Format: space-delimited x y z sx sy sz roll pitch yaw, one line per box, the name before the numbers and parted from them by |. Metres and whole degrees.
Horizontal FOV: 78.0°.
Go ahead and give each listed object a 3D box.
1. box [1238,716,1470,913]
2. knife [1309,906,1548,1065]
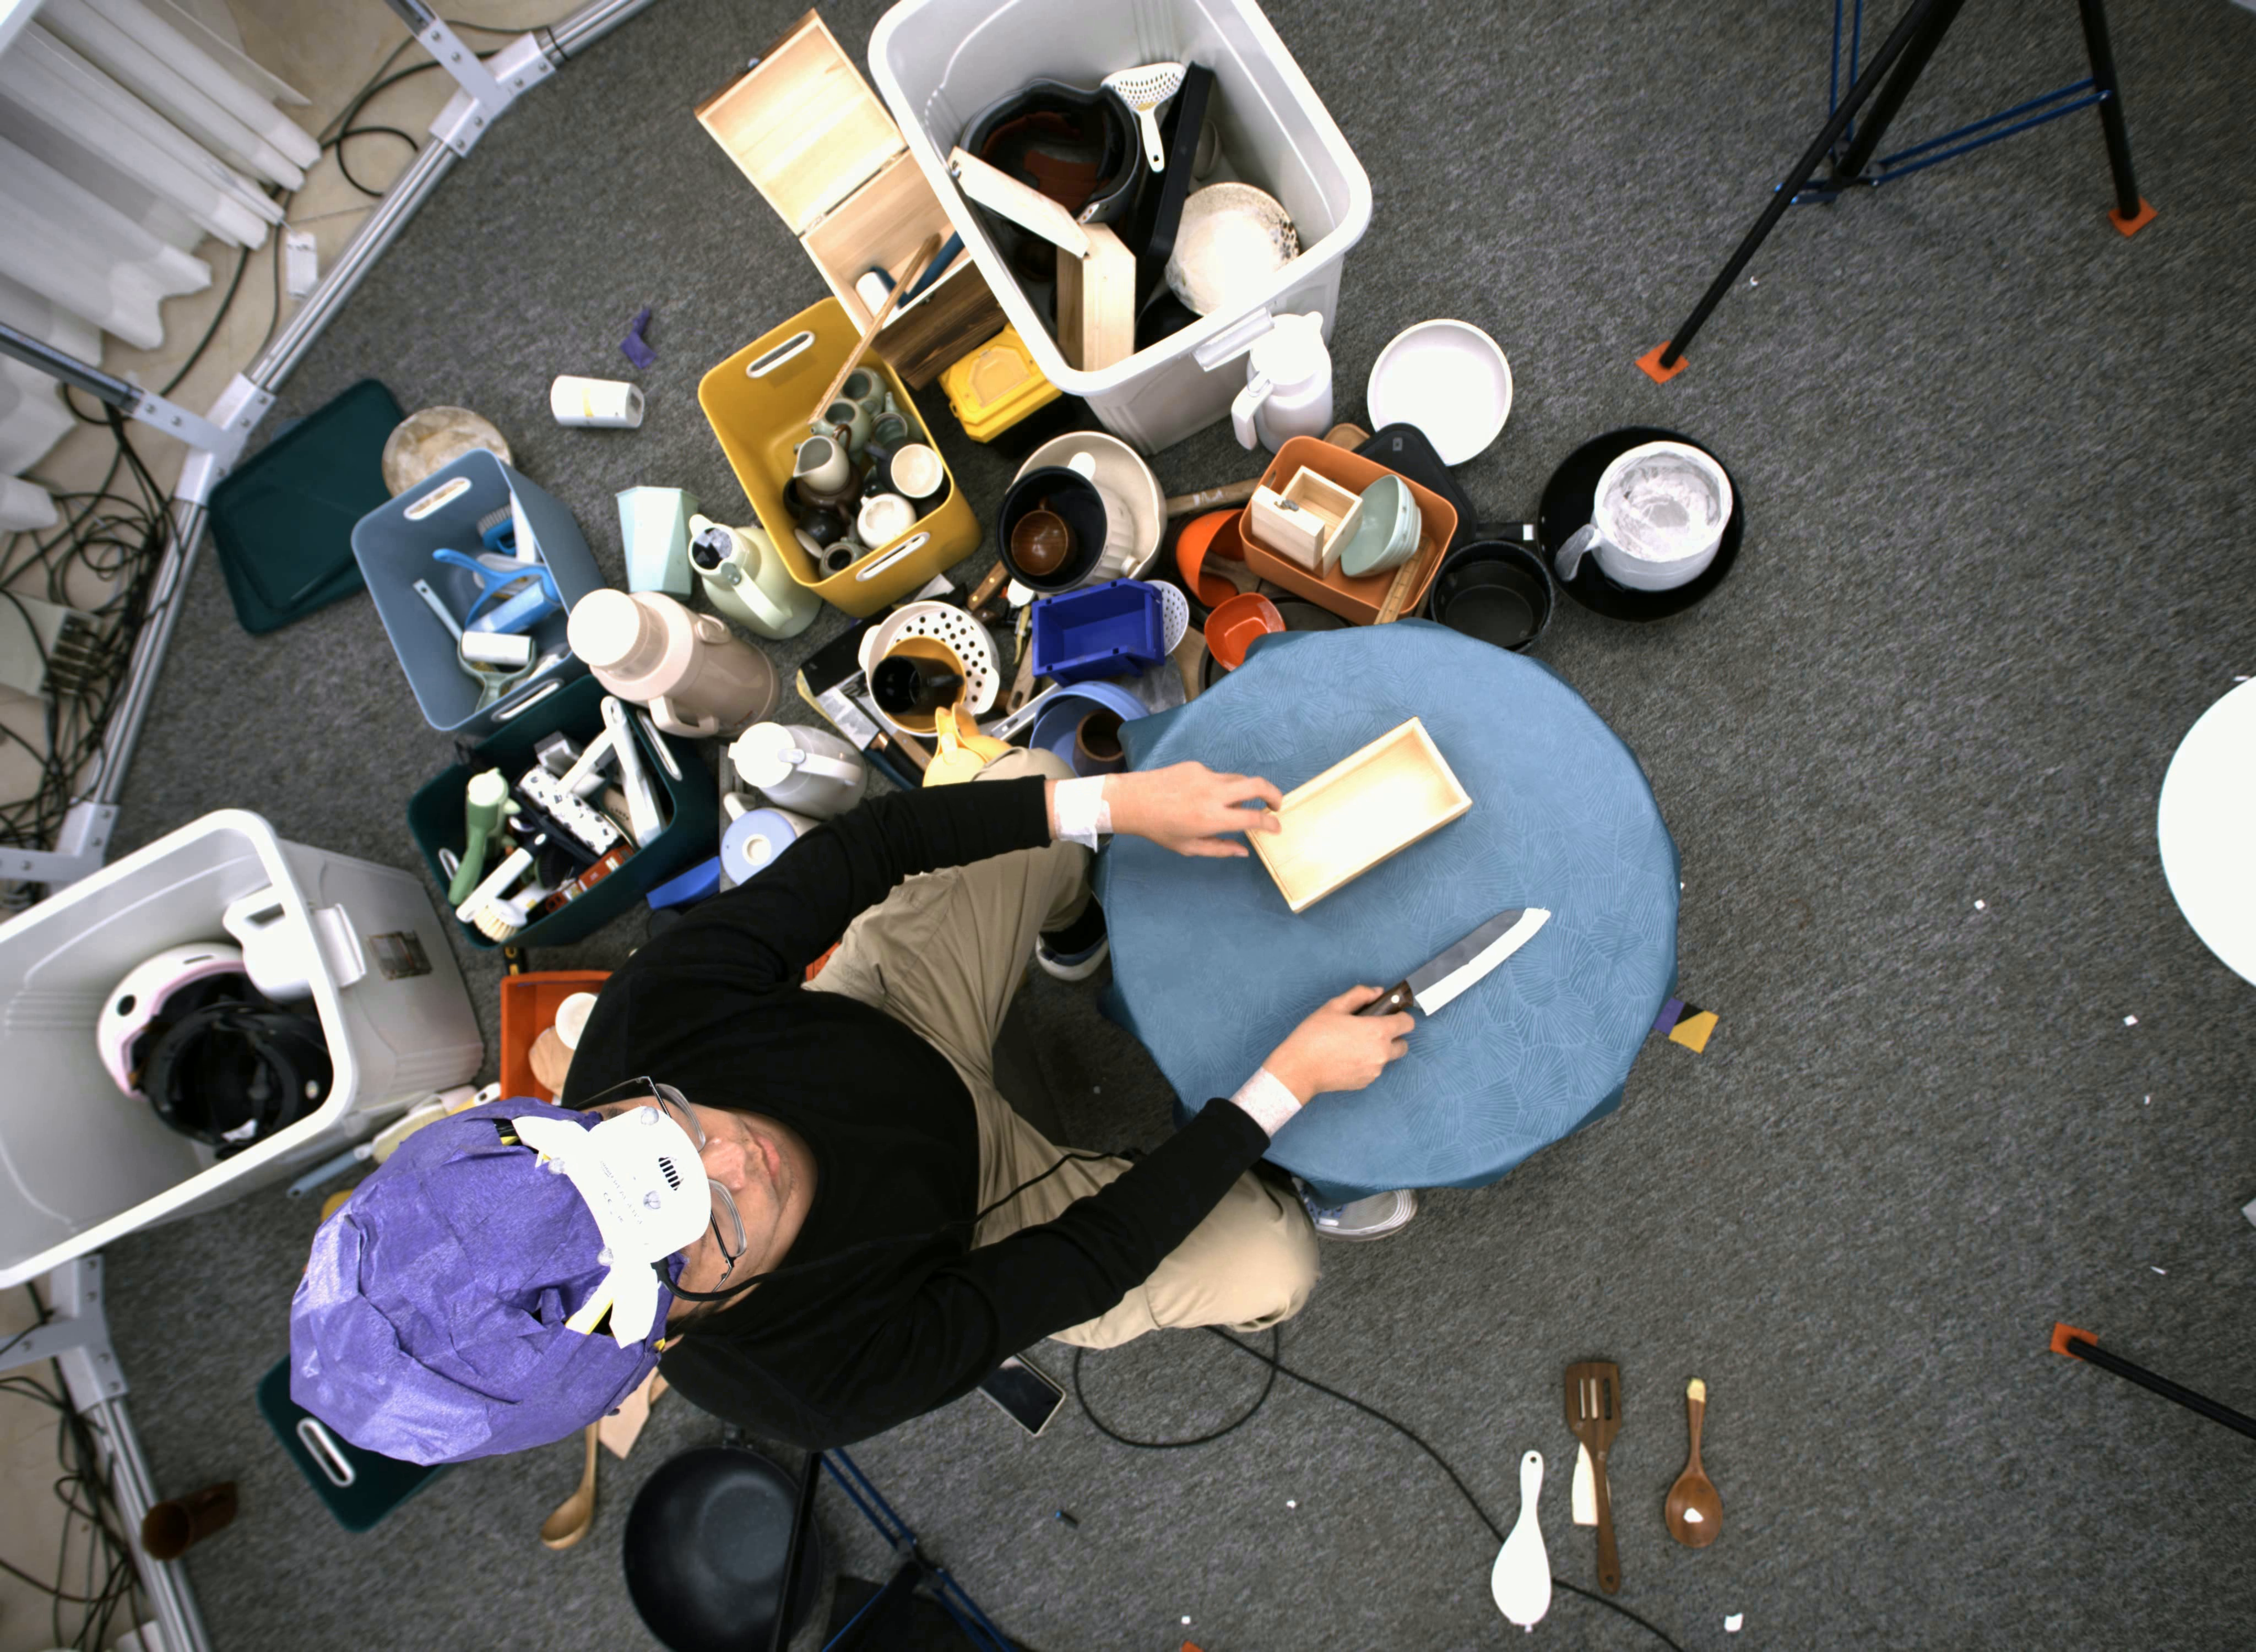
box | 0.234 -0.011 1.431 0.212 0.080 0.107 -32 81 7
knife | 0.313 0.162 1.430 0.289 0.020 0.050 -32 78 0
